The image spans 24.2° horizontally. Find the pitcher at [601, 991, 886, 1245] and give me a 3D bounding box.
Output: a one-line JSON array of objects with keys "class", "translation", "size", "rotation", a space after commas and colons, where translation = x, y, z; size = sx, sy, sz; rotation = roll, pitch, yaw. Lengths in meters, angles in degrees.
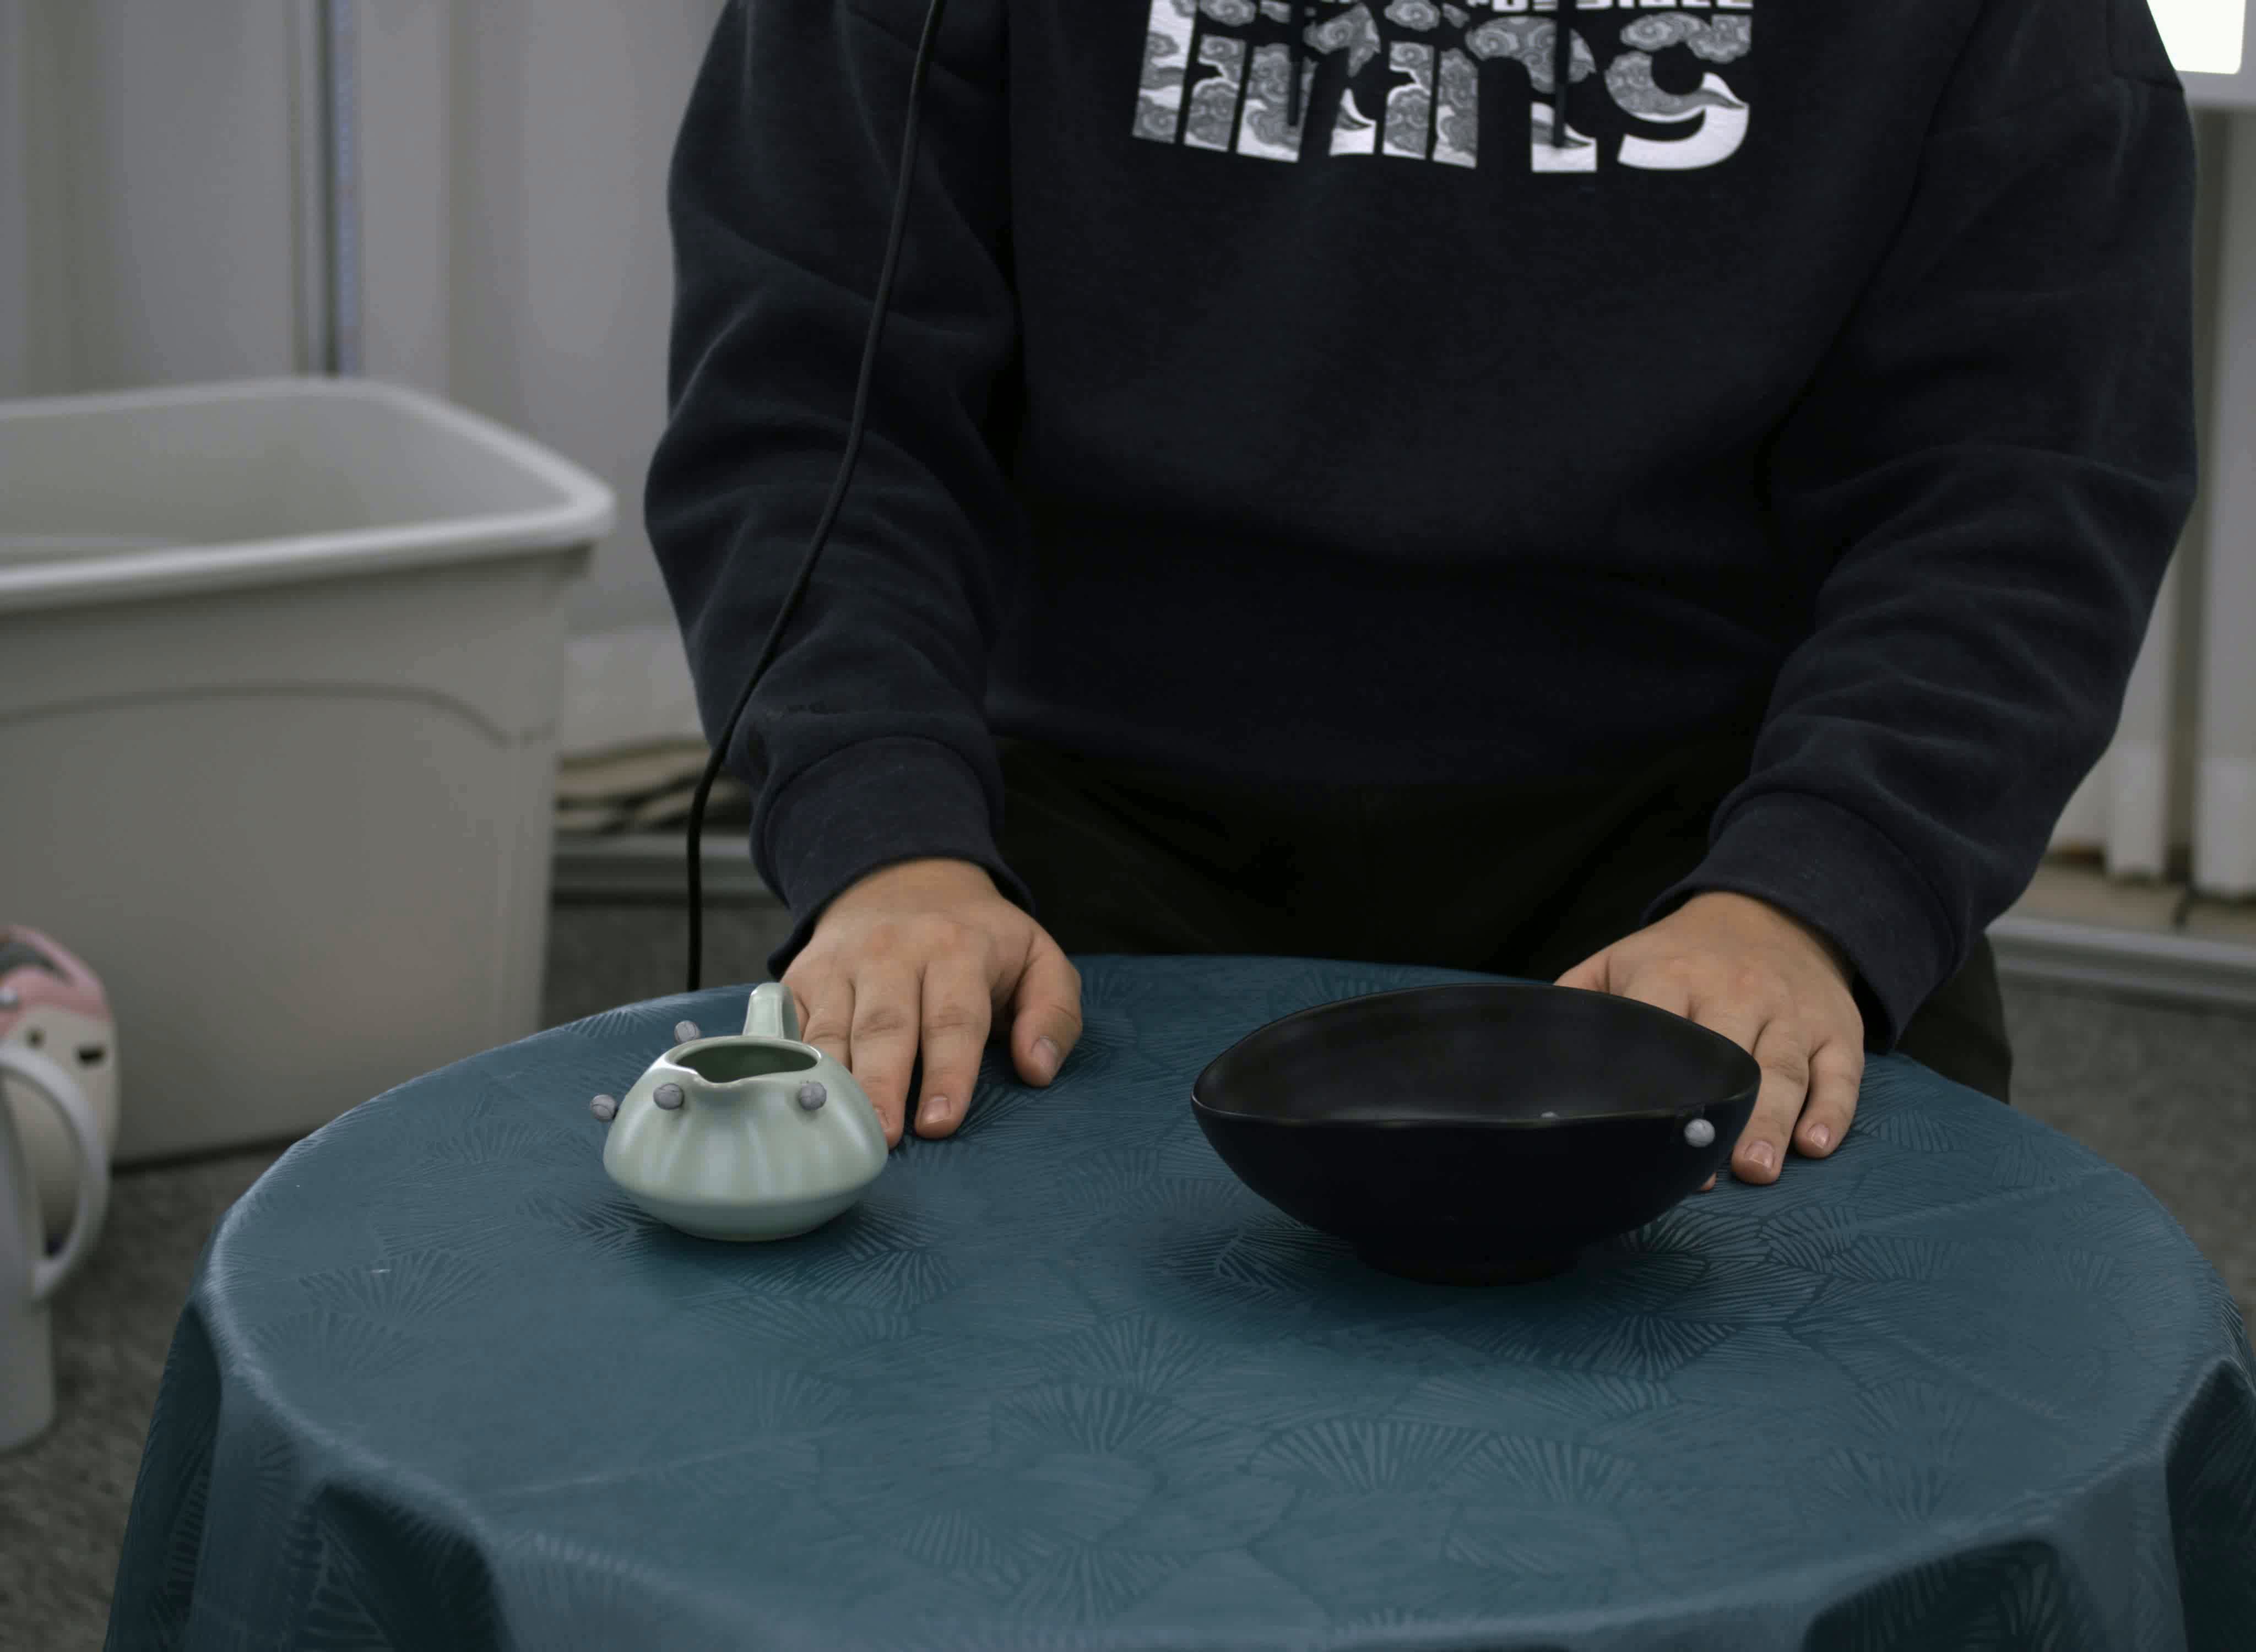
[{"class": "pitcher", "translation": [-0.115, 0.089, 1.601], "size": [0.085, 0.061, 0.107], "rotation": [3, 14, 4]}]

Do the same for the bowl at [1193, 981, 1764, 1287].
[{"class": "bowl", "translation": [0.104, 0.097, 1.571], "size": [0.170, 0.067, 0.136], "rotation": [-1, 15, -4]}]
